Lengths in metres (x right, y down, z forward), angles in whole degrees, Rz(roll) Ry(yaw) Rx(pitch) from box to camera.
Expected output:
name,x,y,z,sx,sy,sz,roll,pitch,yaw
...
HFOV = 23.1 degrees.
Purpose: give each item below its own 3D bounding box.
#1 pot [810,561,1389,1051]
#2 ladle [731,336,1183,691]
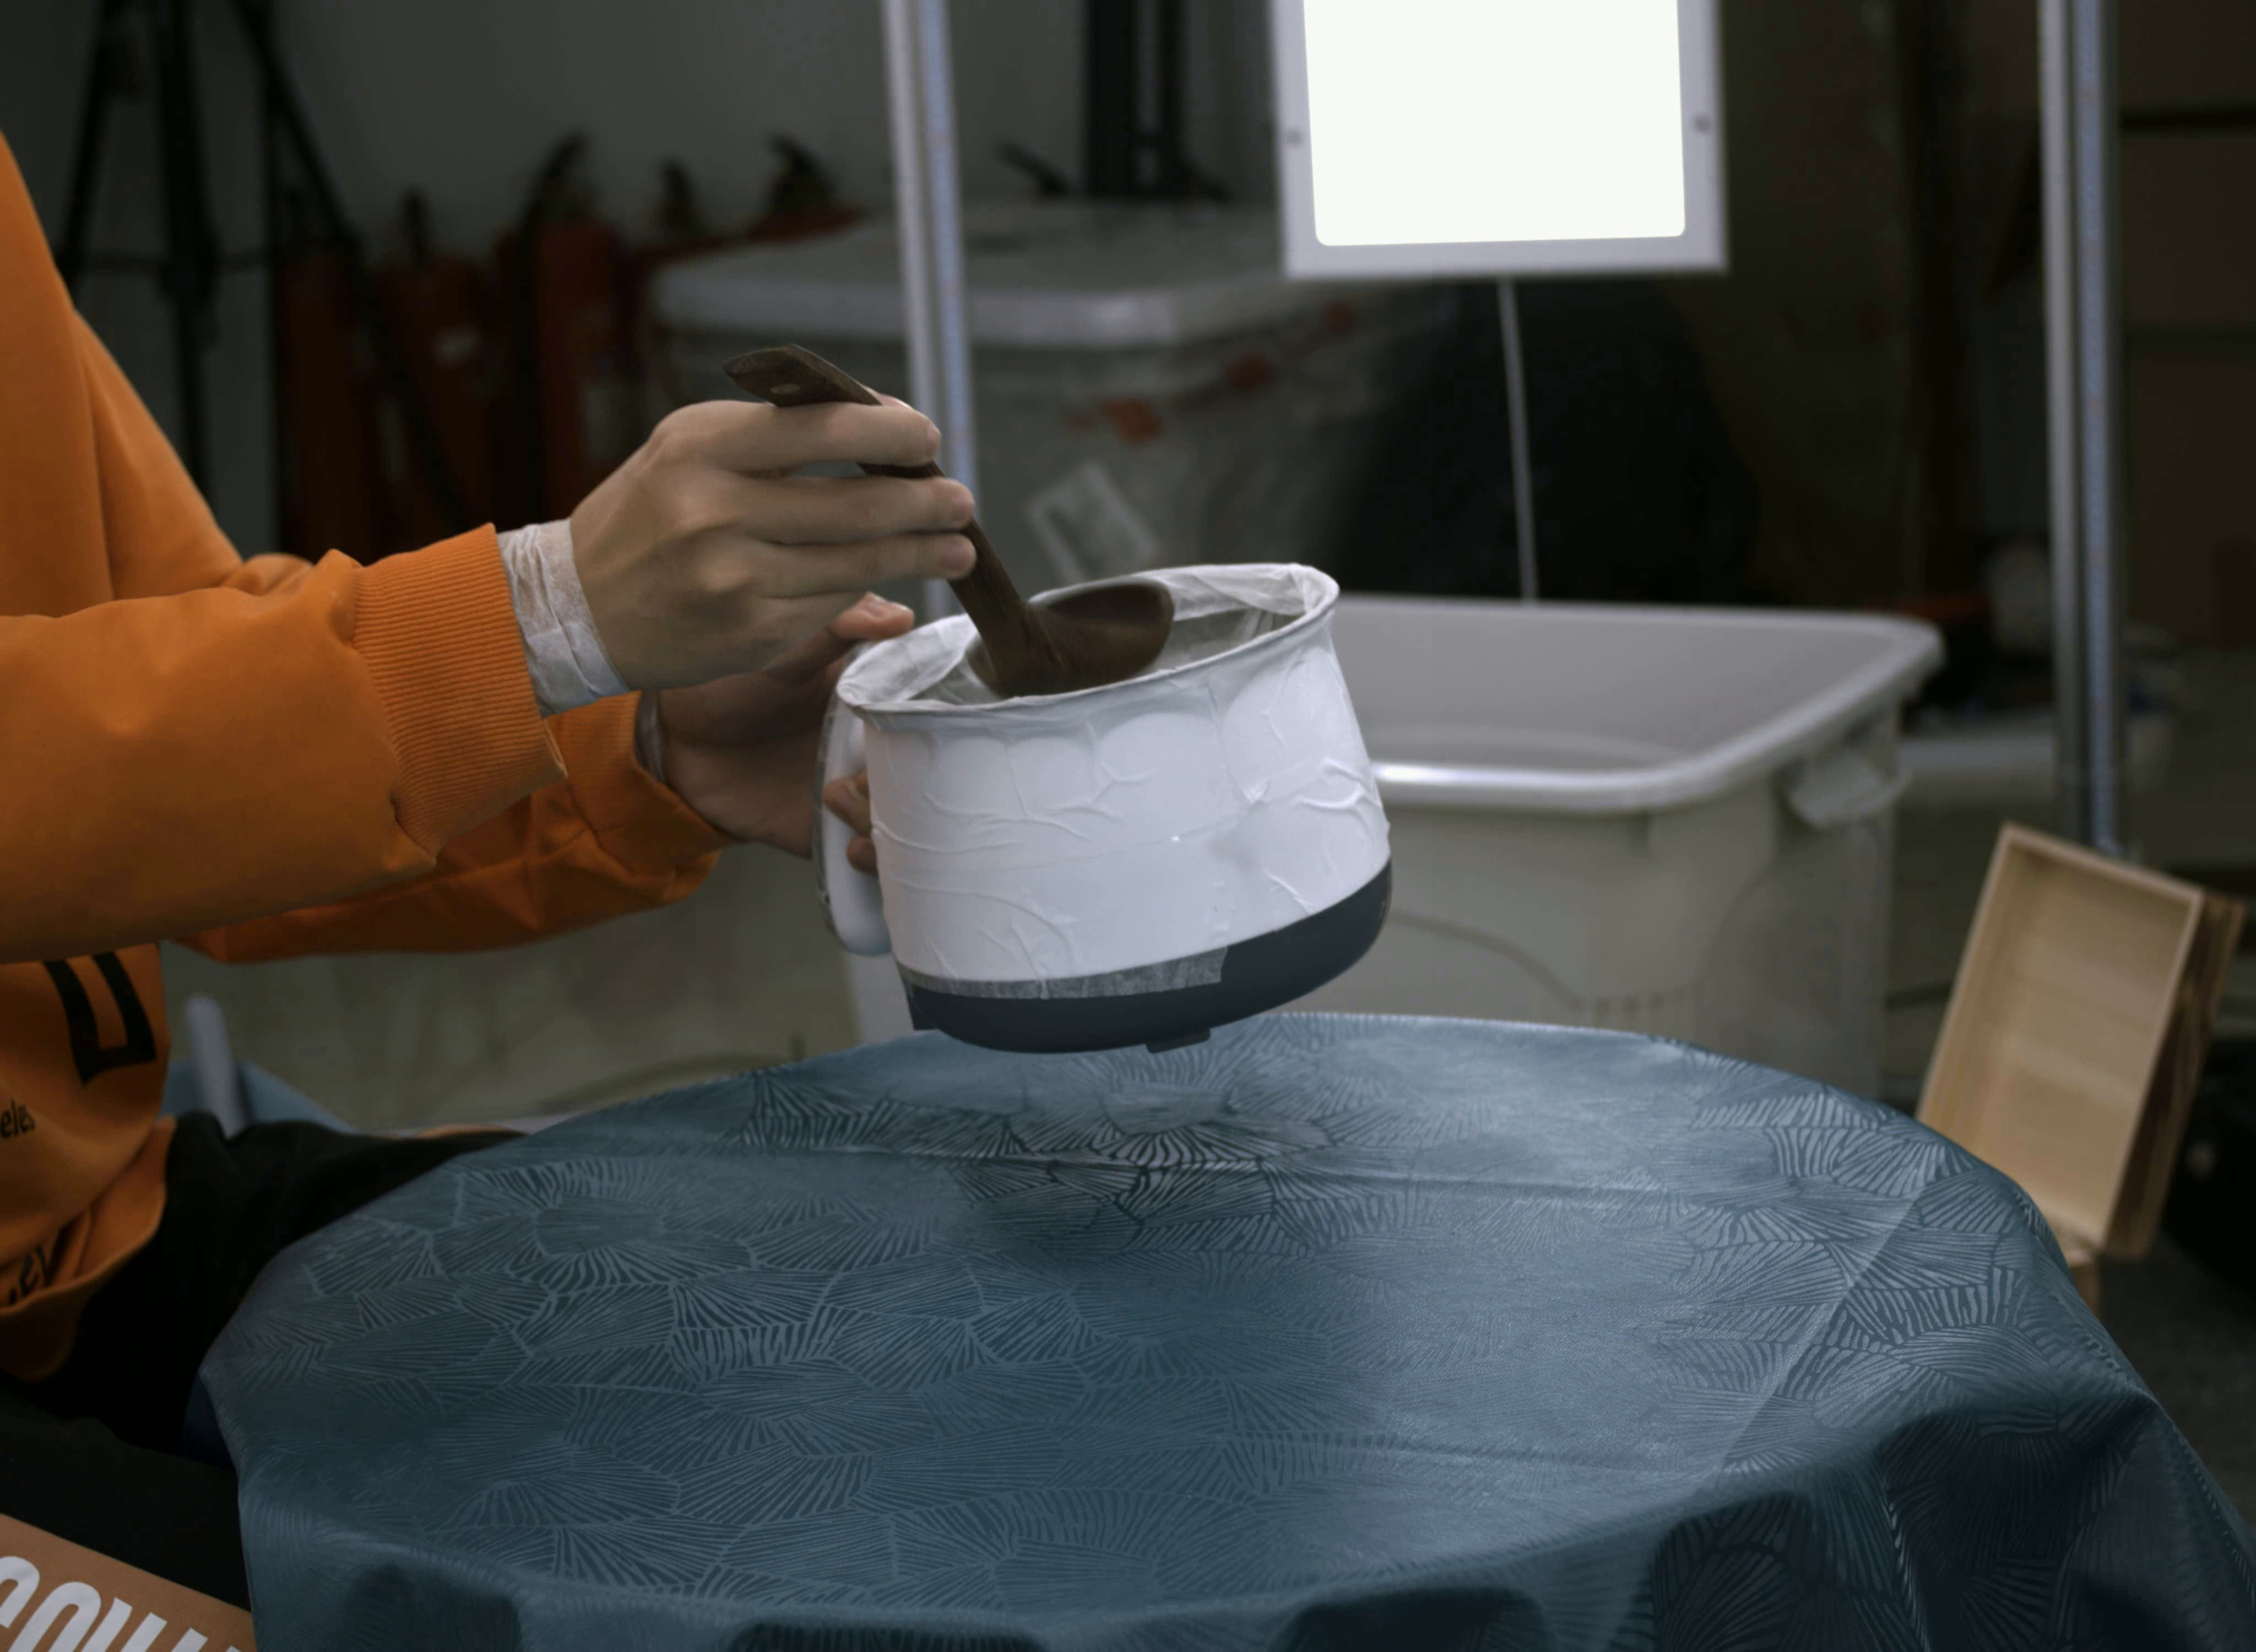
name,x,y,z,sx,sy,sz,roll,pitch,yaw
pot,-0.024,-0.006,1.922,0.239,0.137,0.174,0,17,41
ladle,-0.059,-0.111,1.803,0.077,0.071,0.270,-15,-33,19
